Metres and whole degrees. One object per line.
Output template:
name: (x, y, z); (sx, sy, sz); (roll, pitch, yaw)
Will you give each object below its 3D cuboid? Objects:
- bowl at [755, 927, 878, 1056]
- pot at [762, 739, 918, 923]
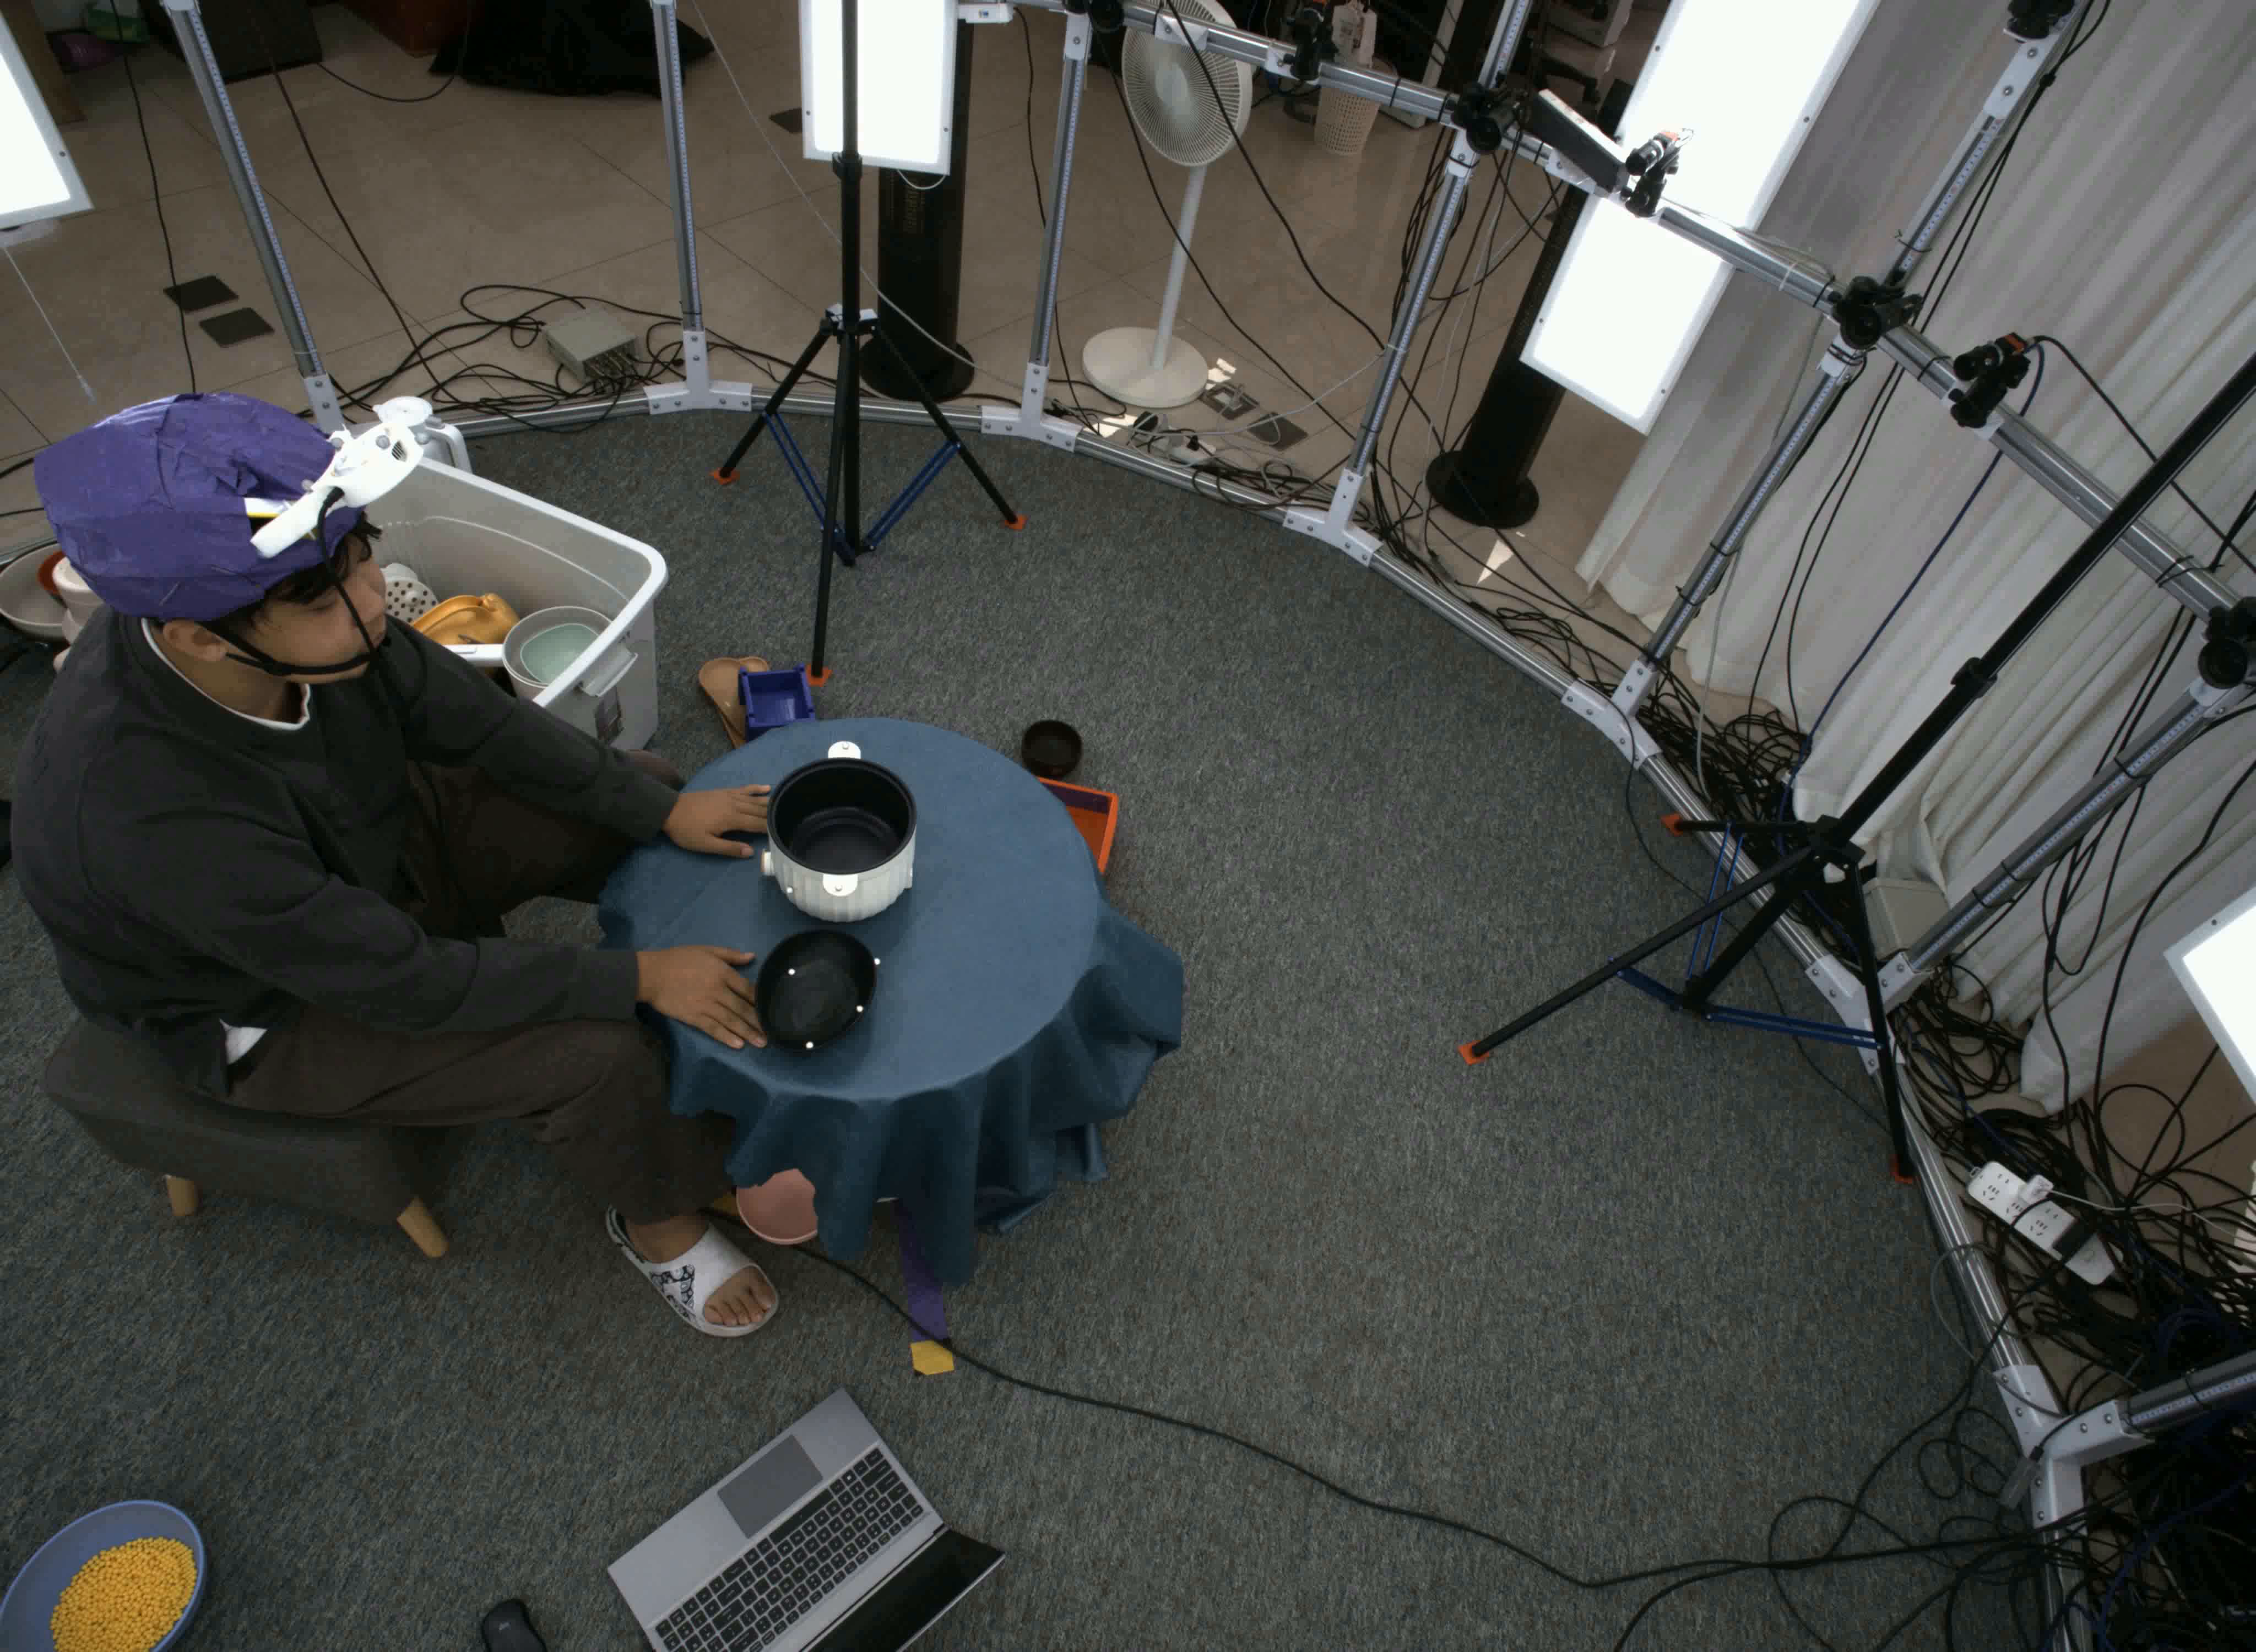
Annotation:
bowl: (-0.369, 0.203, 1.540); (0.136, 0.068, 0.168); (16, 53, 0)
pot: (-0.362, 0.024, 1.628); (0.191, 0.145, 0.235); (2, 52, -15)
